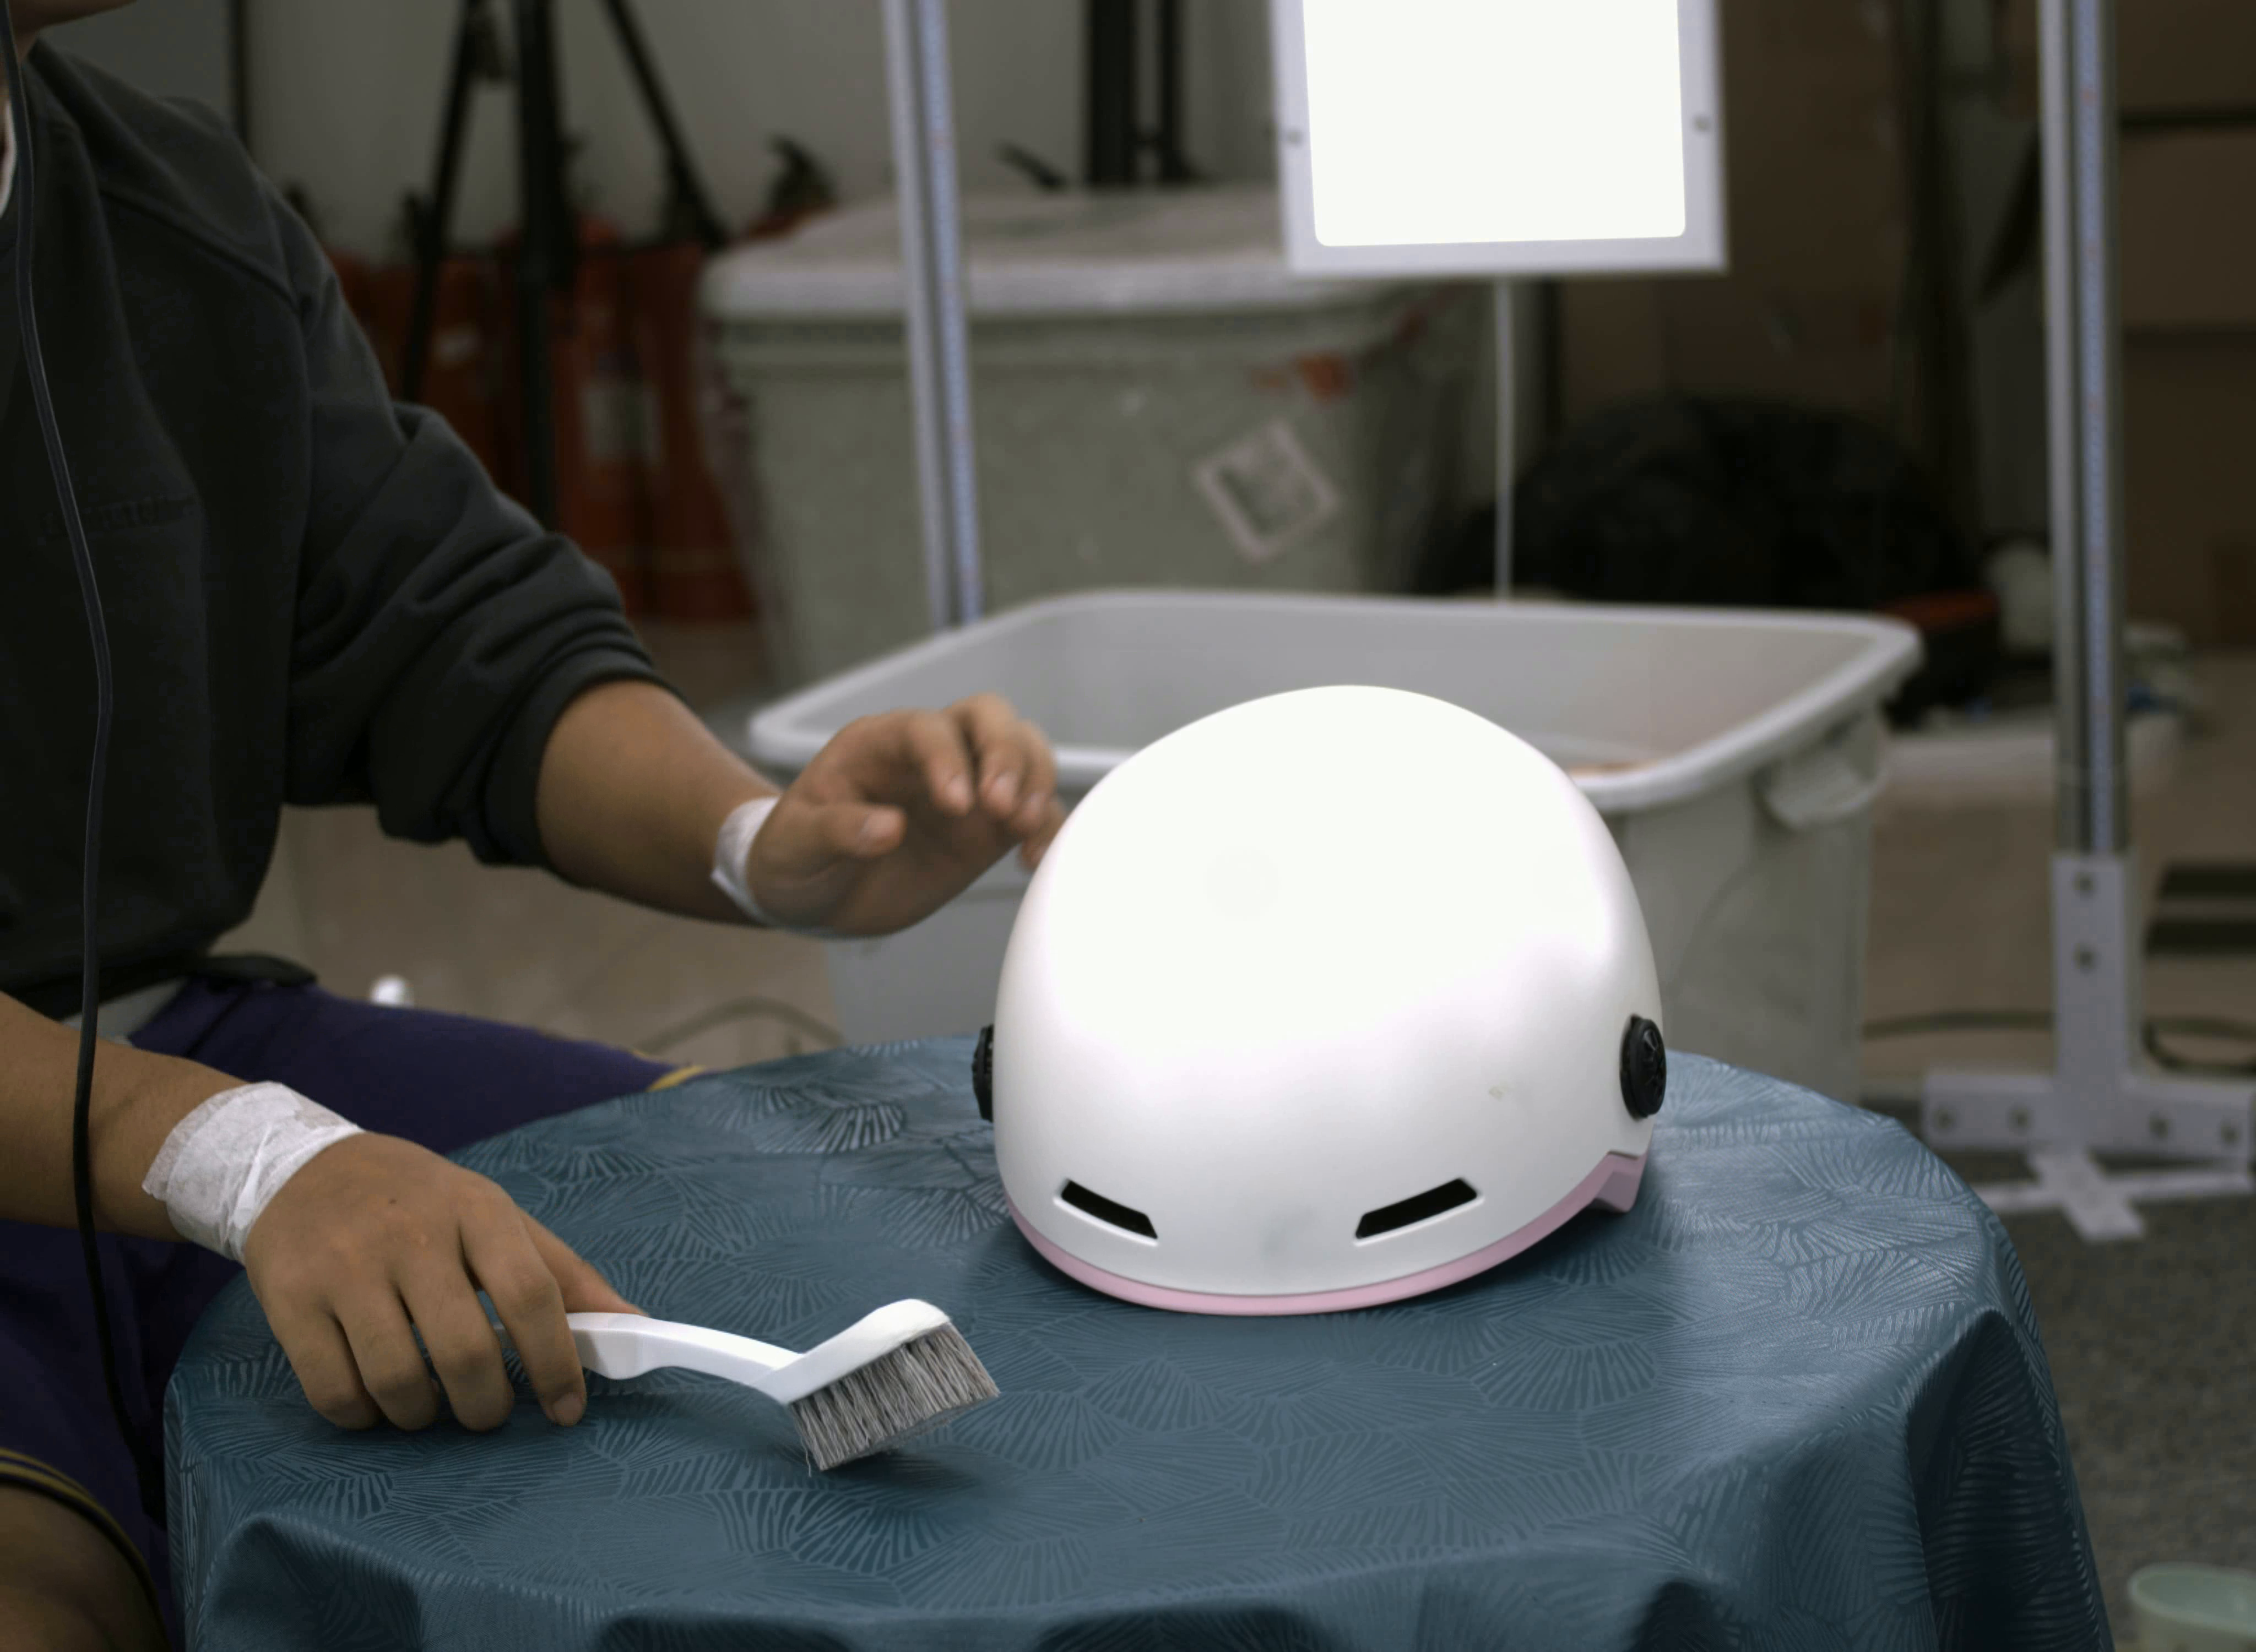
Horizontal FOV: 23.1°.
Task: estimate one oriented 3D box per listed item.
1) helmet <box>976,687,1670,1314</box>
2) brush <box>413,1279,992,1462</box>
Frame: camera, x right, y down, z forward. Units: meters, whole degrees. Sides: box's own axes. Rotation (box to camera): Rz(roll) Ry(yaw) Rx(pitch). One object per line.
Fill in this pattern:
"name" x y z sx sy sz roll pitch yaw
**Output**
"helmet" 0.067 0.045 1.861 0.239 0.167 0.265 0 15 16
"brush" -0.136 0.173 1.706 0.249 0.050 0.033 -10 3 44
